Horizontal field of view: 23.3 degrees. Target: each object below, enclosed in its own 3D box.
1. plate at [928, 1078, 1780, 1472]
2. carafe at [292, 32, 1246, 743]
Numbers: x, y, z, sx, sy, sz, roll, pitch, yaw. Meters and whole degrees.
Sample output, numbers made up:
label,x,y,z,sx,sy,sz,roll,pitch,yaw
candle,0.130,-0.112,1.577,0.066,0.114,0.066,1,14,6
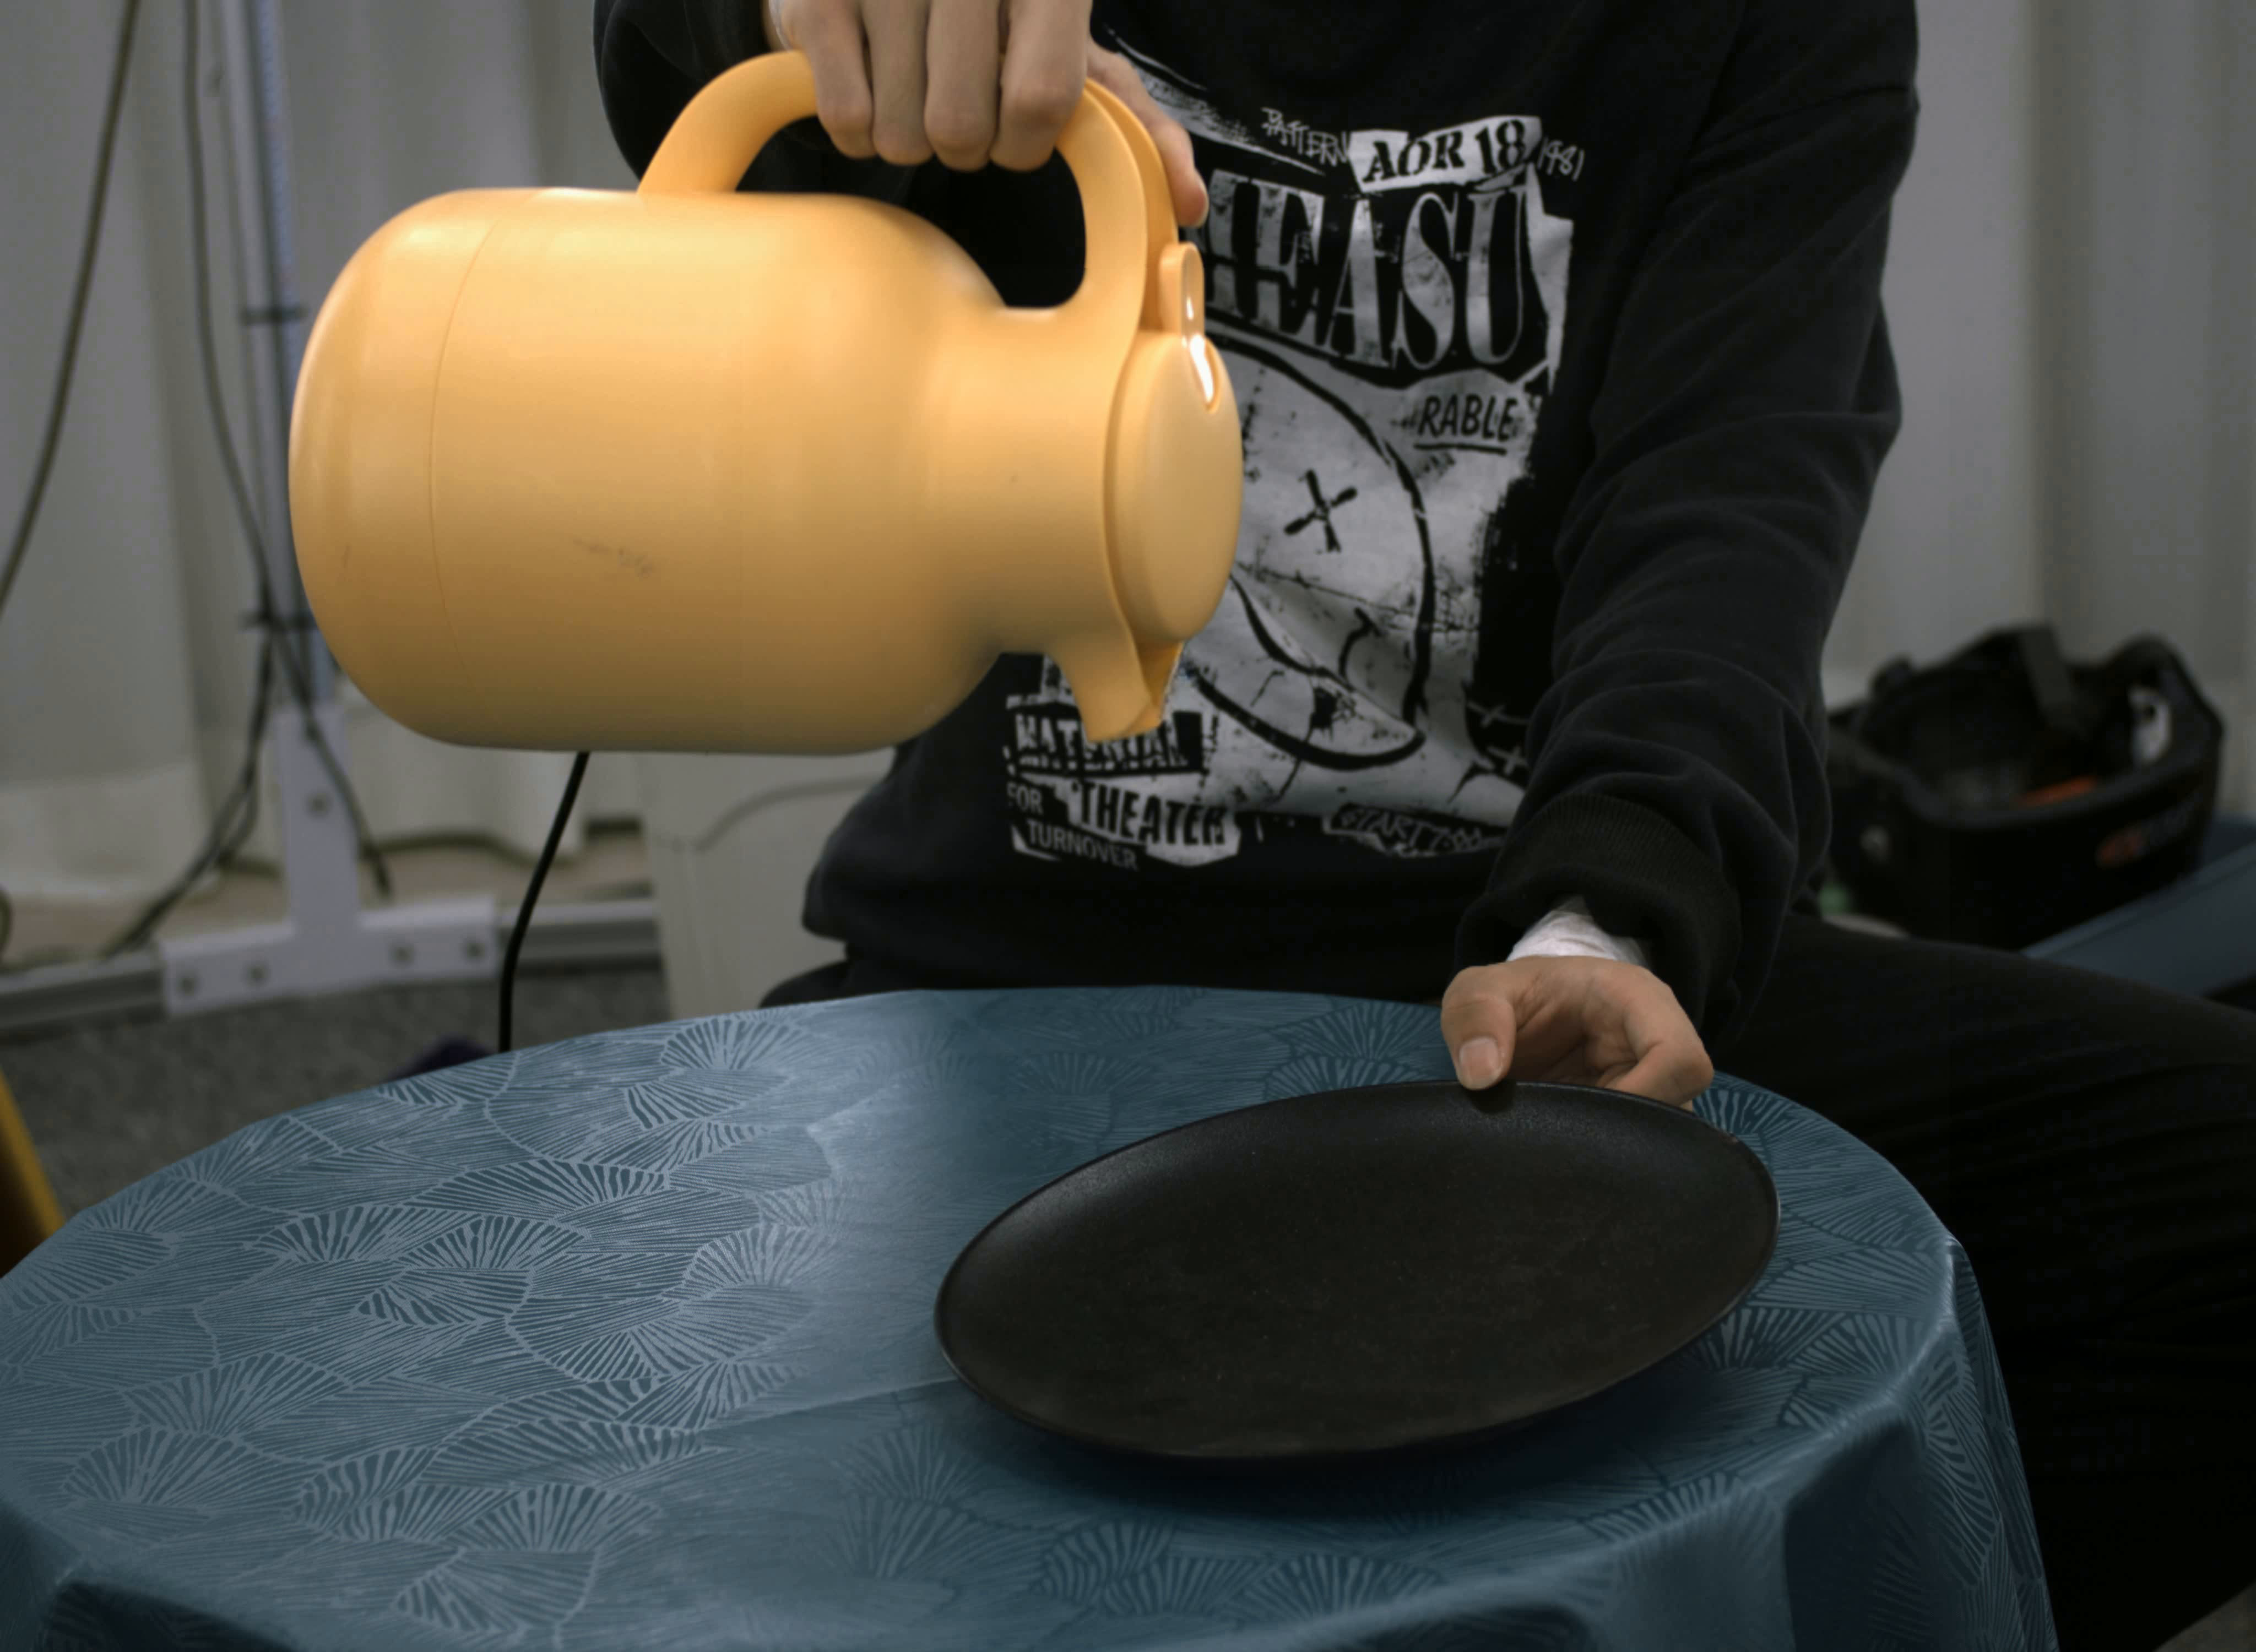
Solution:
label,x,y,z,sx,sy,sz,roll,pitch,yaw
plate,0.064,0.131,1.550,0.243,0.023,0.246,-8,20,3
carafe,-0.096,-0.124,1.566,0.260,0.203,0.163,4,-1,19
